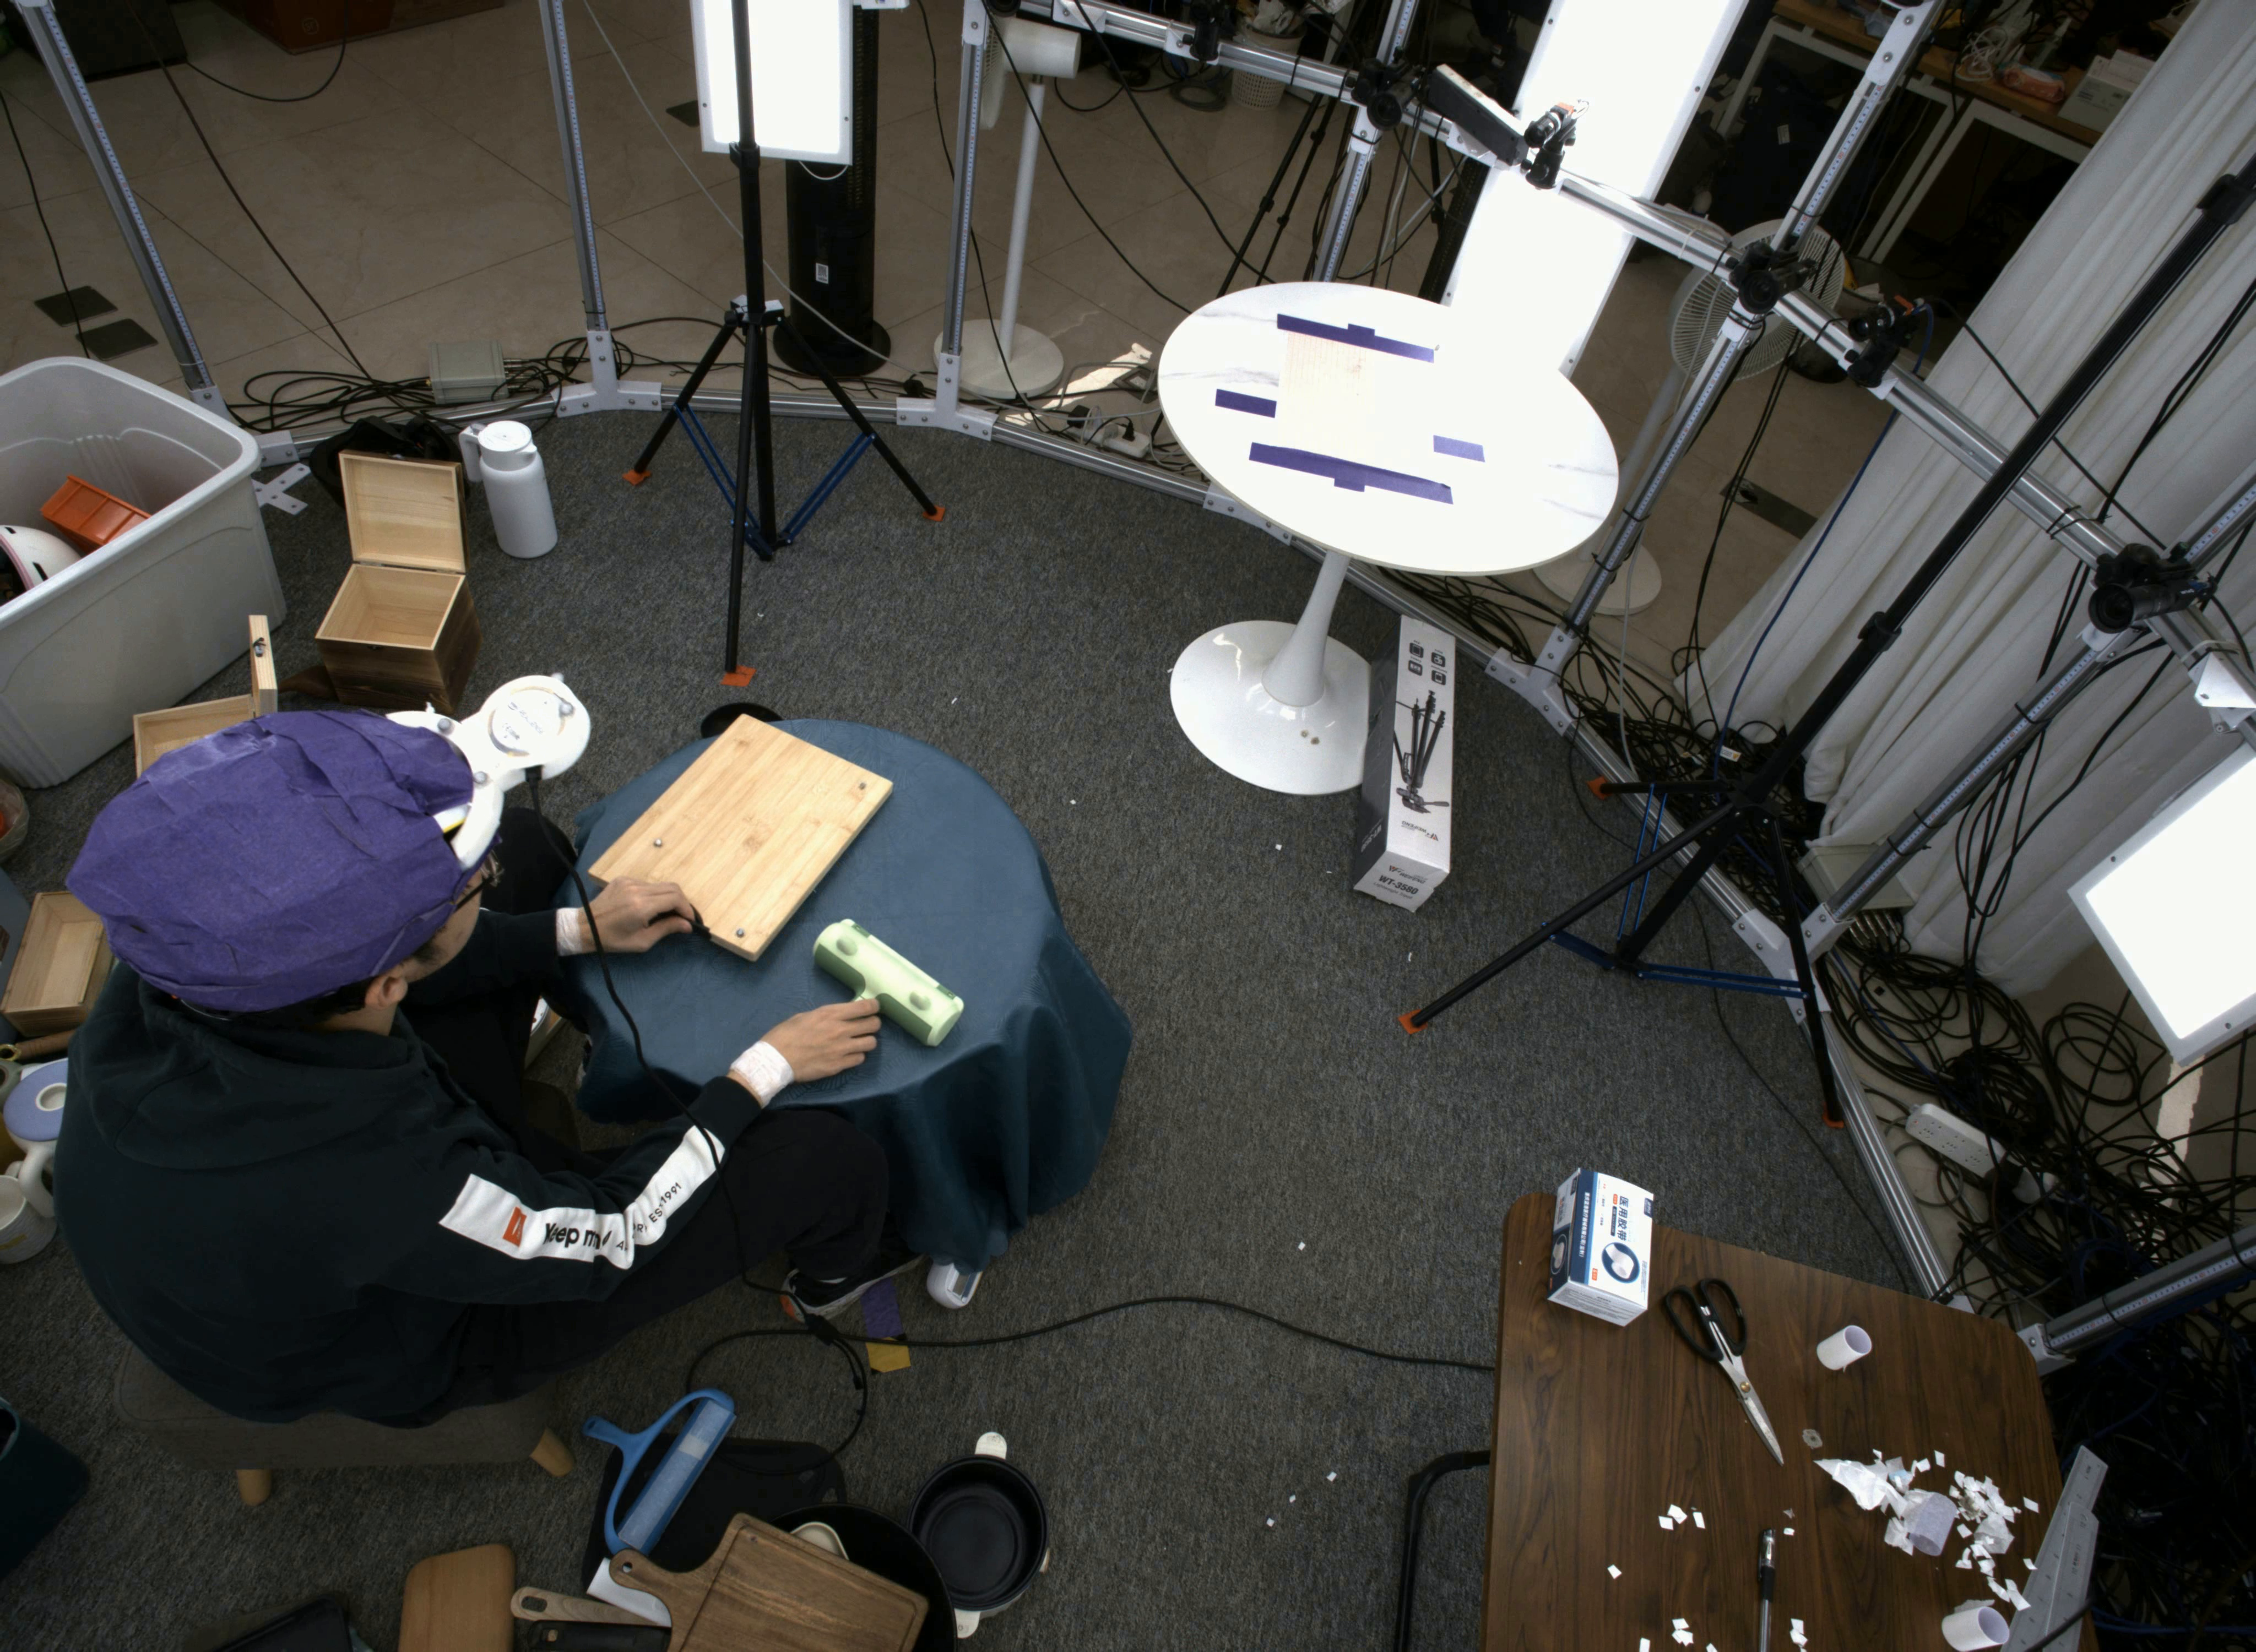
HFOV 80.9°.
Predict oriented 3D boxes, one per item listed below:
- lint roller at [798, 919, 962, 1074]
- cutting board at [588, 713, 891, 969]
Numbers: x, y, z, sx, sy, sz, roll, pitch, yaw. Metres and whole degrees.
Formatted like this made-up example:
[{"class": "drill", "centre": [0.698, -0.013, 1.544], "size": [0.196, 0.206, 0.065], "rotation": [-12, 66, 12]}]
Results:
[{"class": "lint roller", "centre": [-0.326, 0.214, 1.548], "size": [0.195, 0.084, 0.183], "rotation": [35, 49, 12]}, {"class": "cutting board", "centre": [-0.497, 0.007, 1.680], "size": [0.247, 0.024, 0.346], "rotation": [25, 48, 4]}]
